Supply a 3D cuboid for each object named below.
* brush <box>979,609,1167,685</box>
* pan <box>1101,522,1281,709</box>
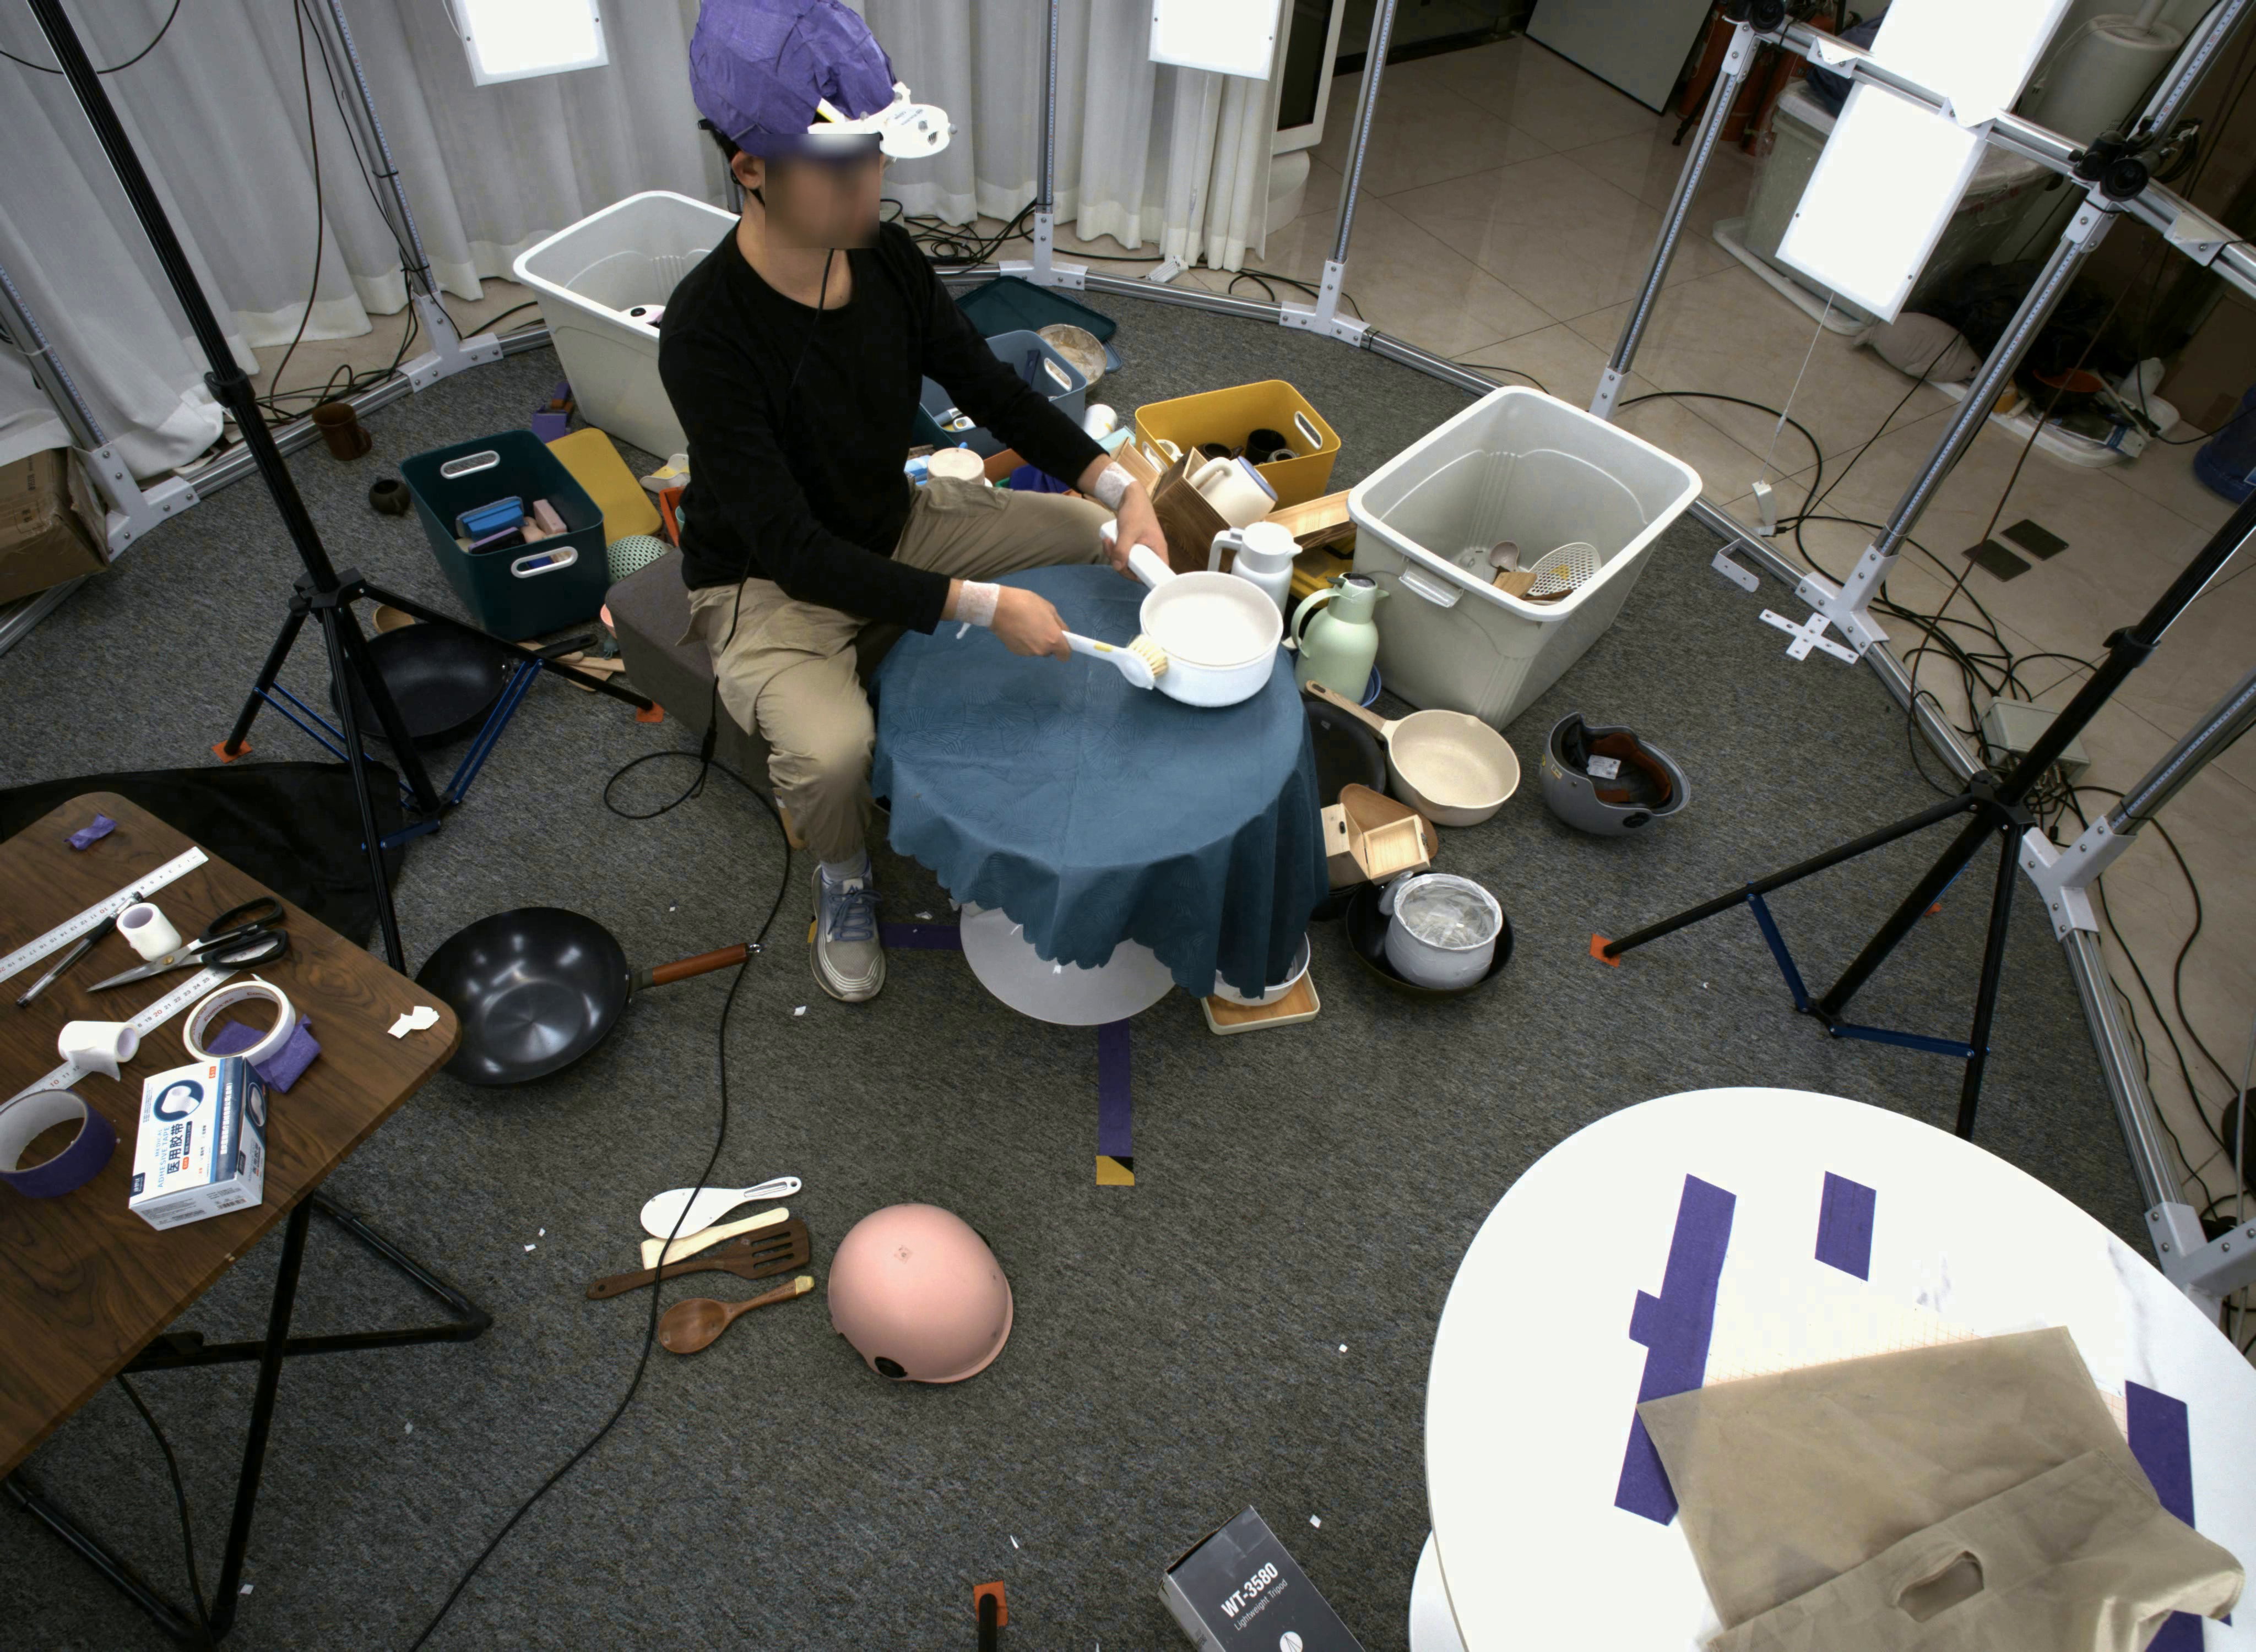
[{"bbox_3d":[-0.073,-0.265,1.777,0.267,0.067,0.057,20,54,8],"label":"brush"},{"bbox_3d":[0.071,-0.310,1.884,0.202,0.099,0.362,-27,55,-22],"label":"pan"}]
